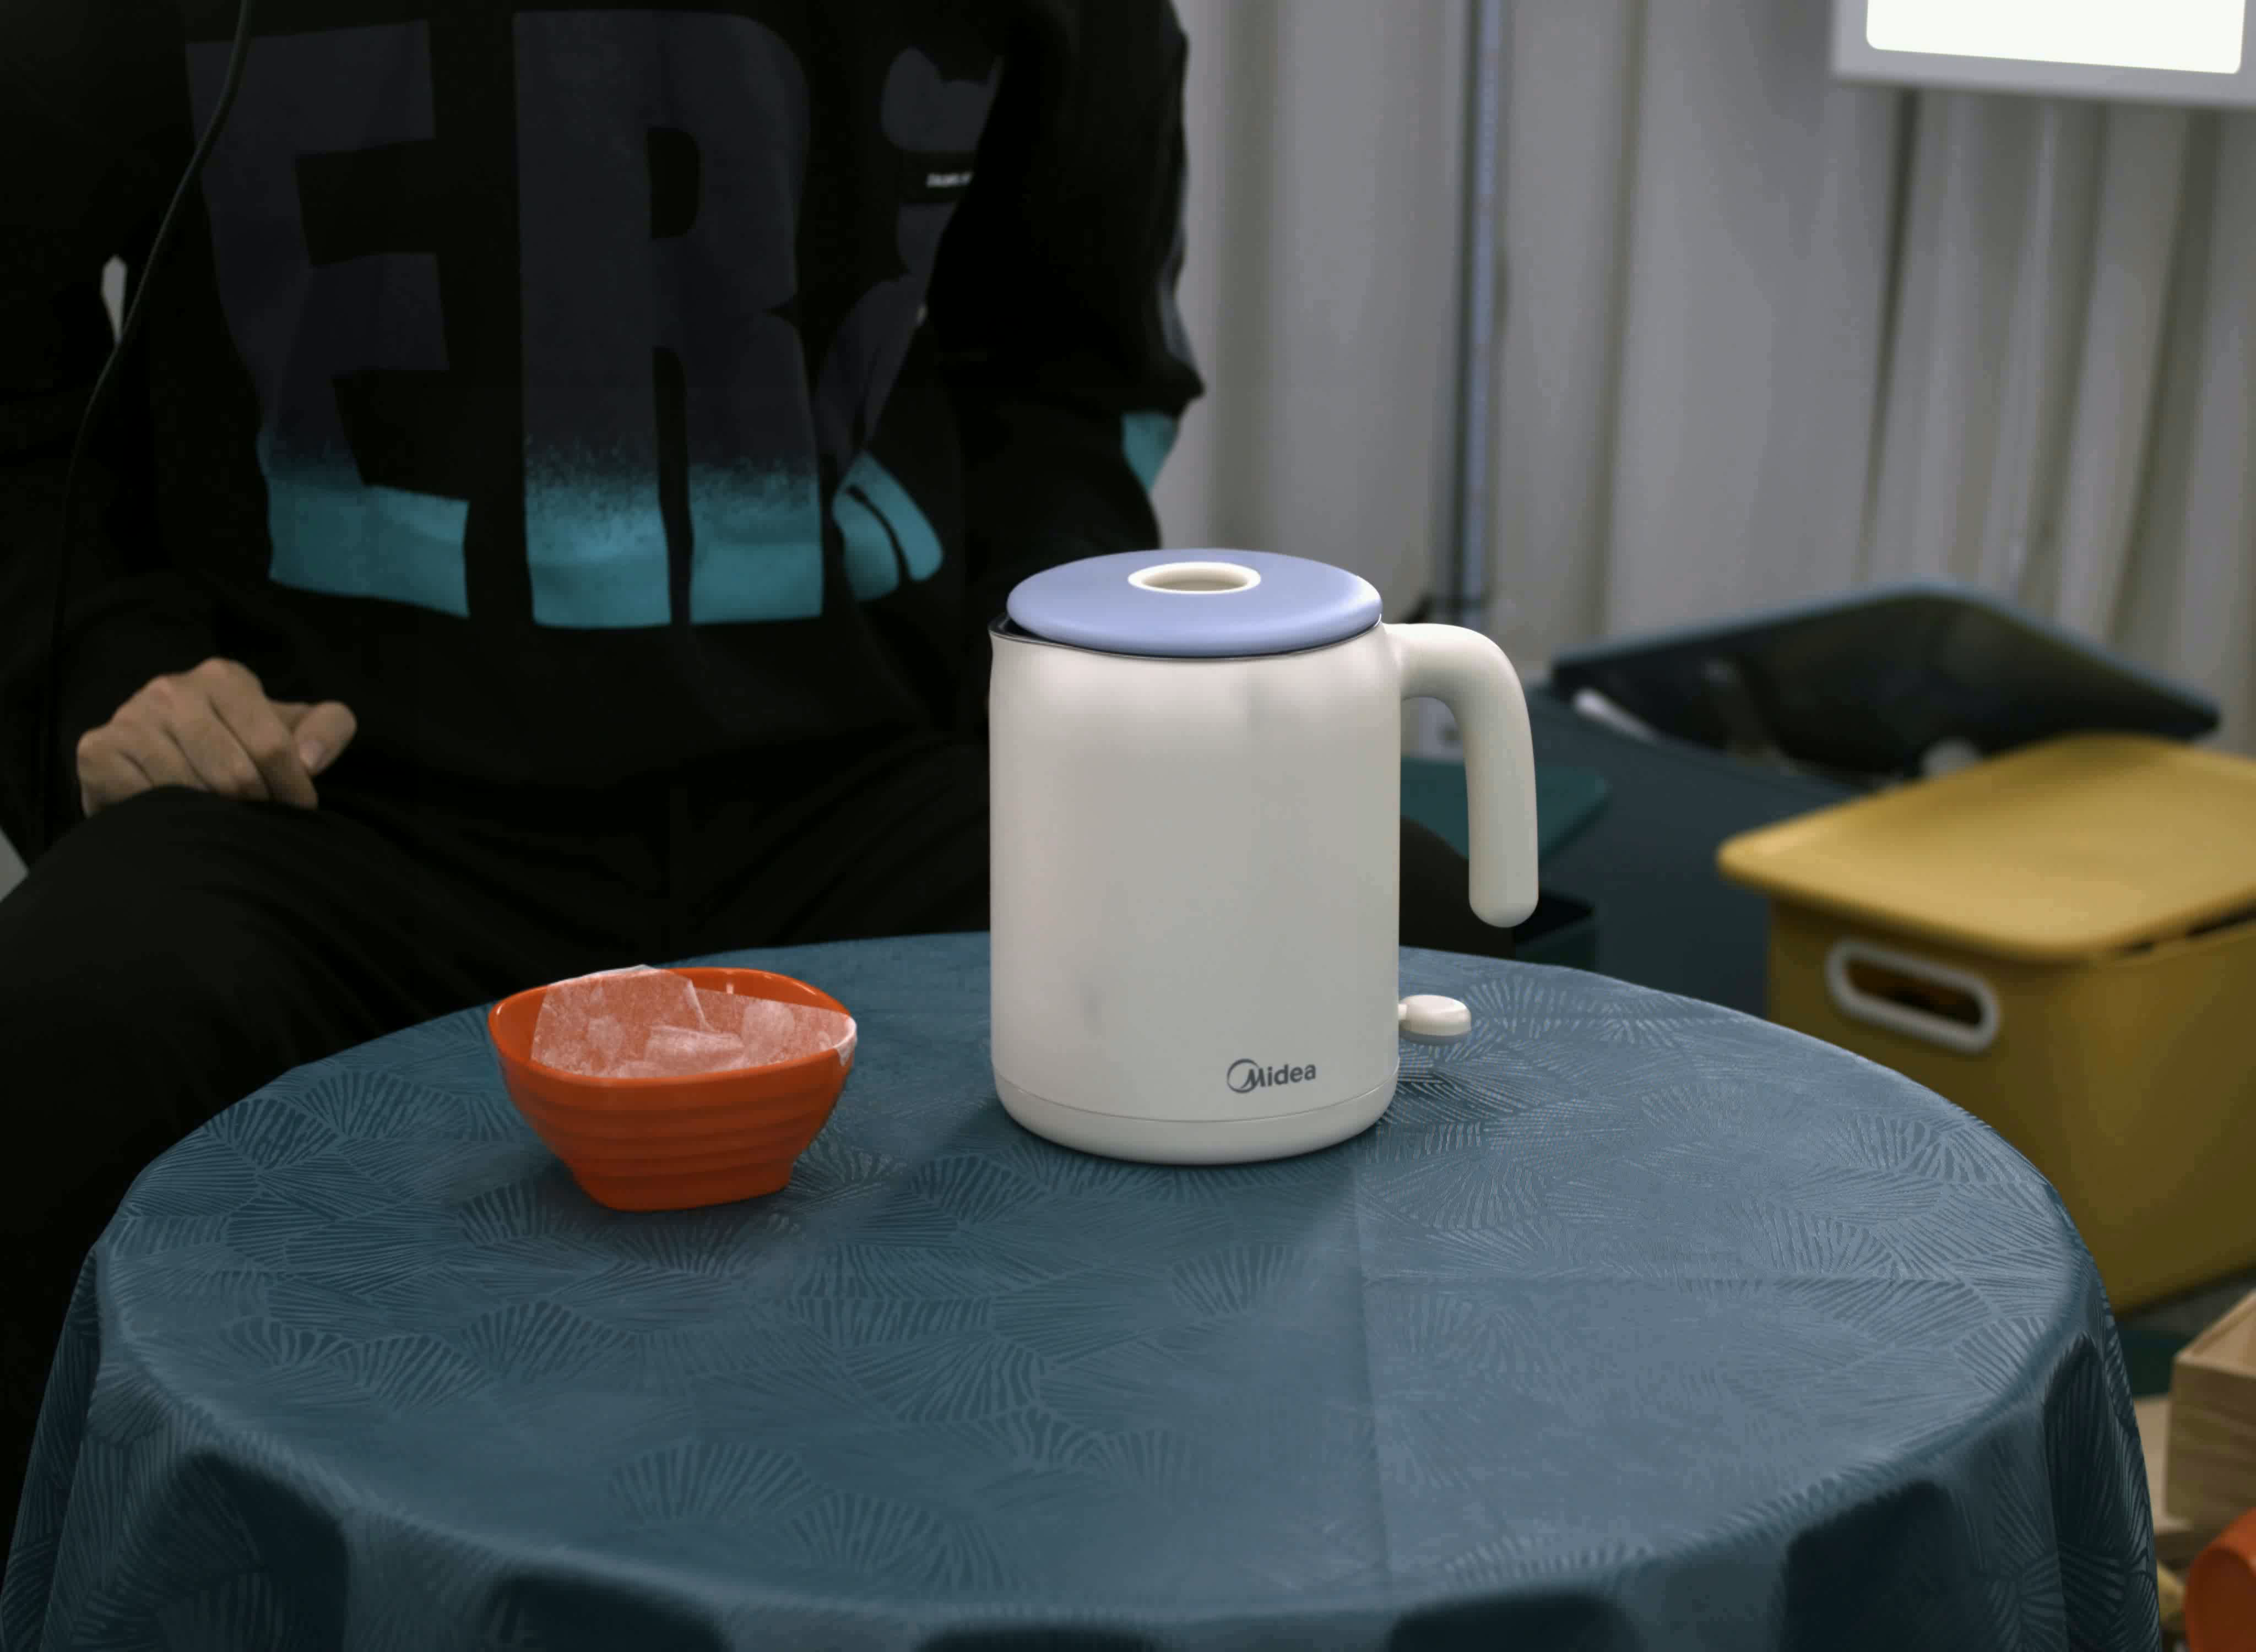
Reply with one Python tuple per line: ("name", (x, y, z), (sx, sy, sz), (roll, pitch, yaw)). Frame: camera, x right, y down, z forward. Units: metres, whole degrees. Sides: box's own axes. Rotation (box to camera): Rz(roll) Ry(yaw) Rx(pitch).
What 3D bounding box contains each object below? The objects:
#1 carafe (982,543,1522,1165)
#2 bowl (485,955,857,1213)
("carafe", (0.042, 0.006, 1.684), (0.192, 0.184, 0.130), (-4, 18, -23))
("bowl", (-0.140, 0.082, 1.625), (0.118, 0.052, 0.118), (0, 19, 1))
